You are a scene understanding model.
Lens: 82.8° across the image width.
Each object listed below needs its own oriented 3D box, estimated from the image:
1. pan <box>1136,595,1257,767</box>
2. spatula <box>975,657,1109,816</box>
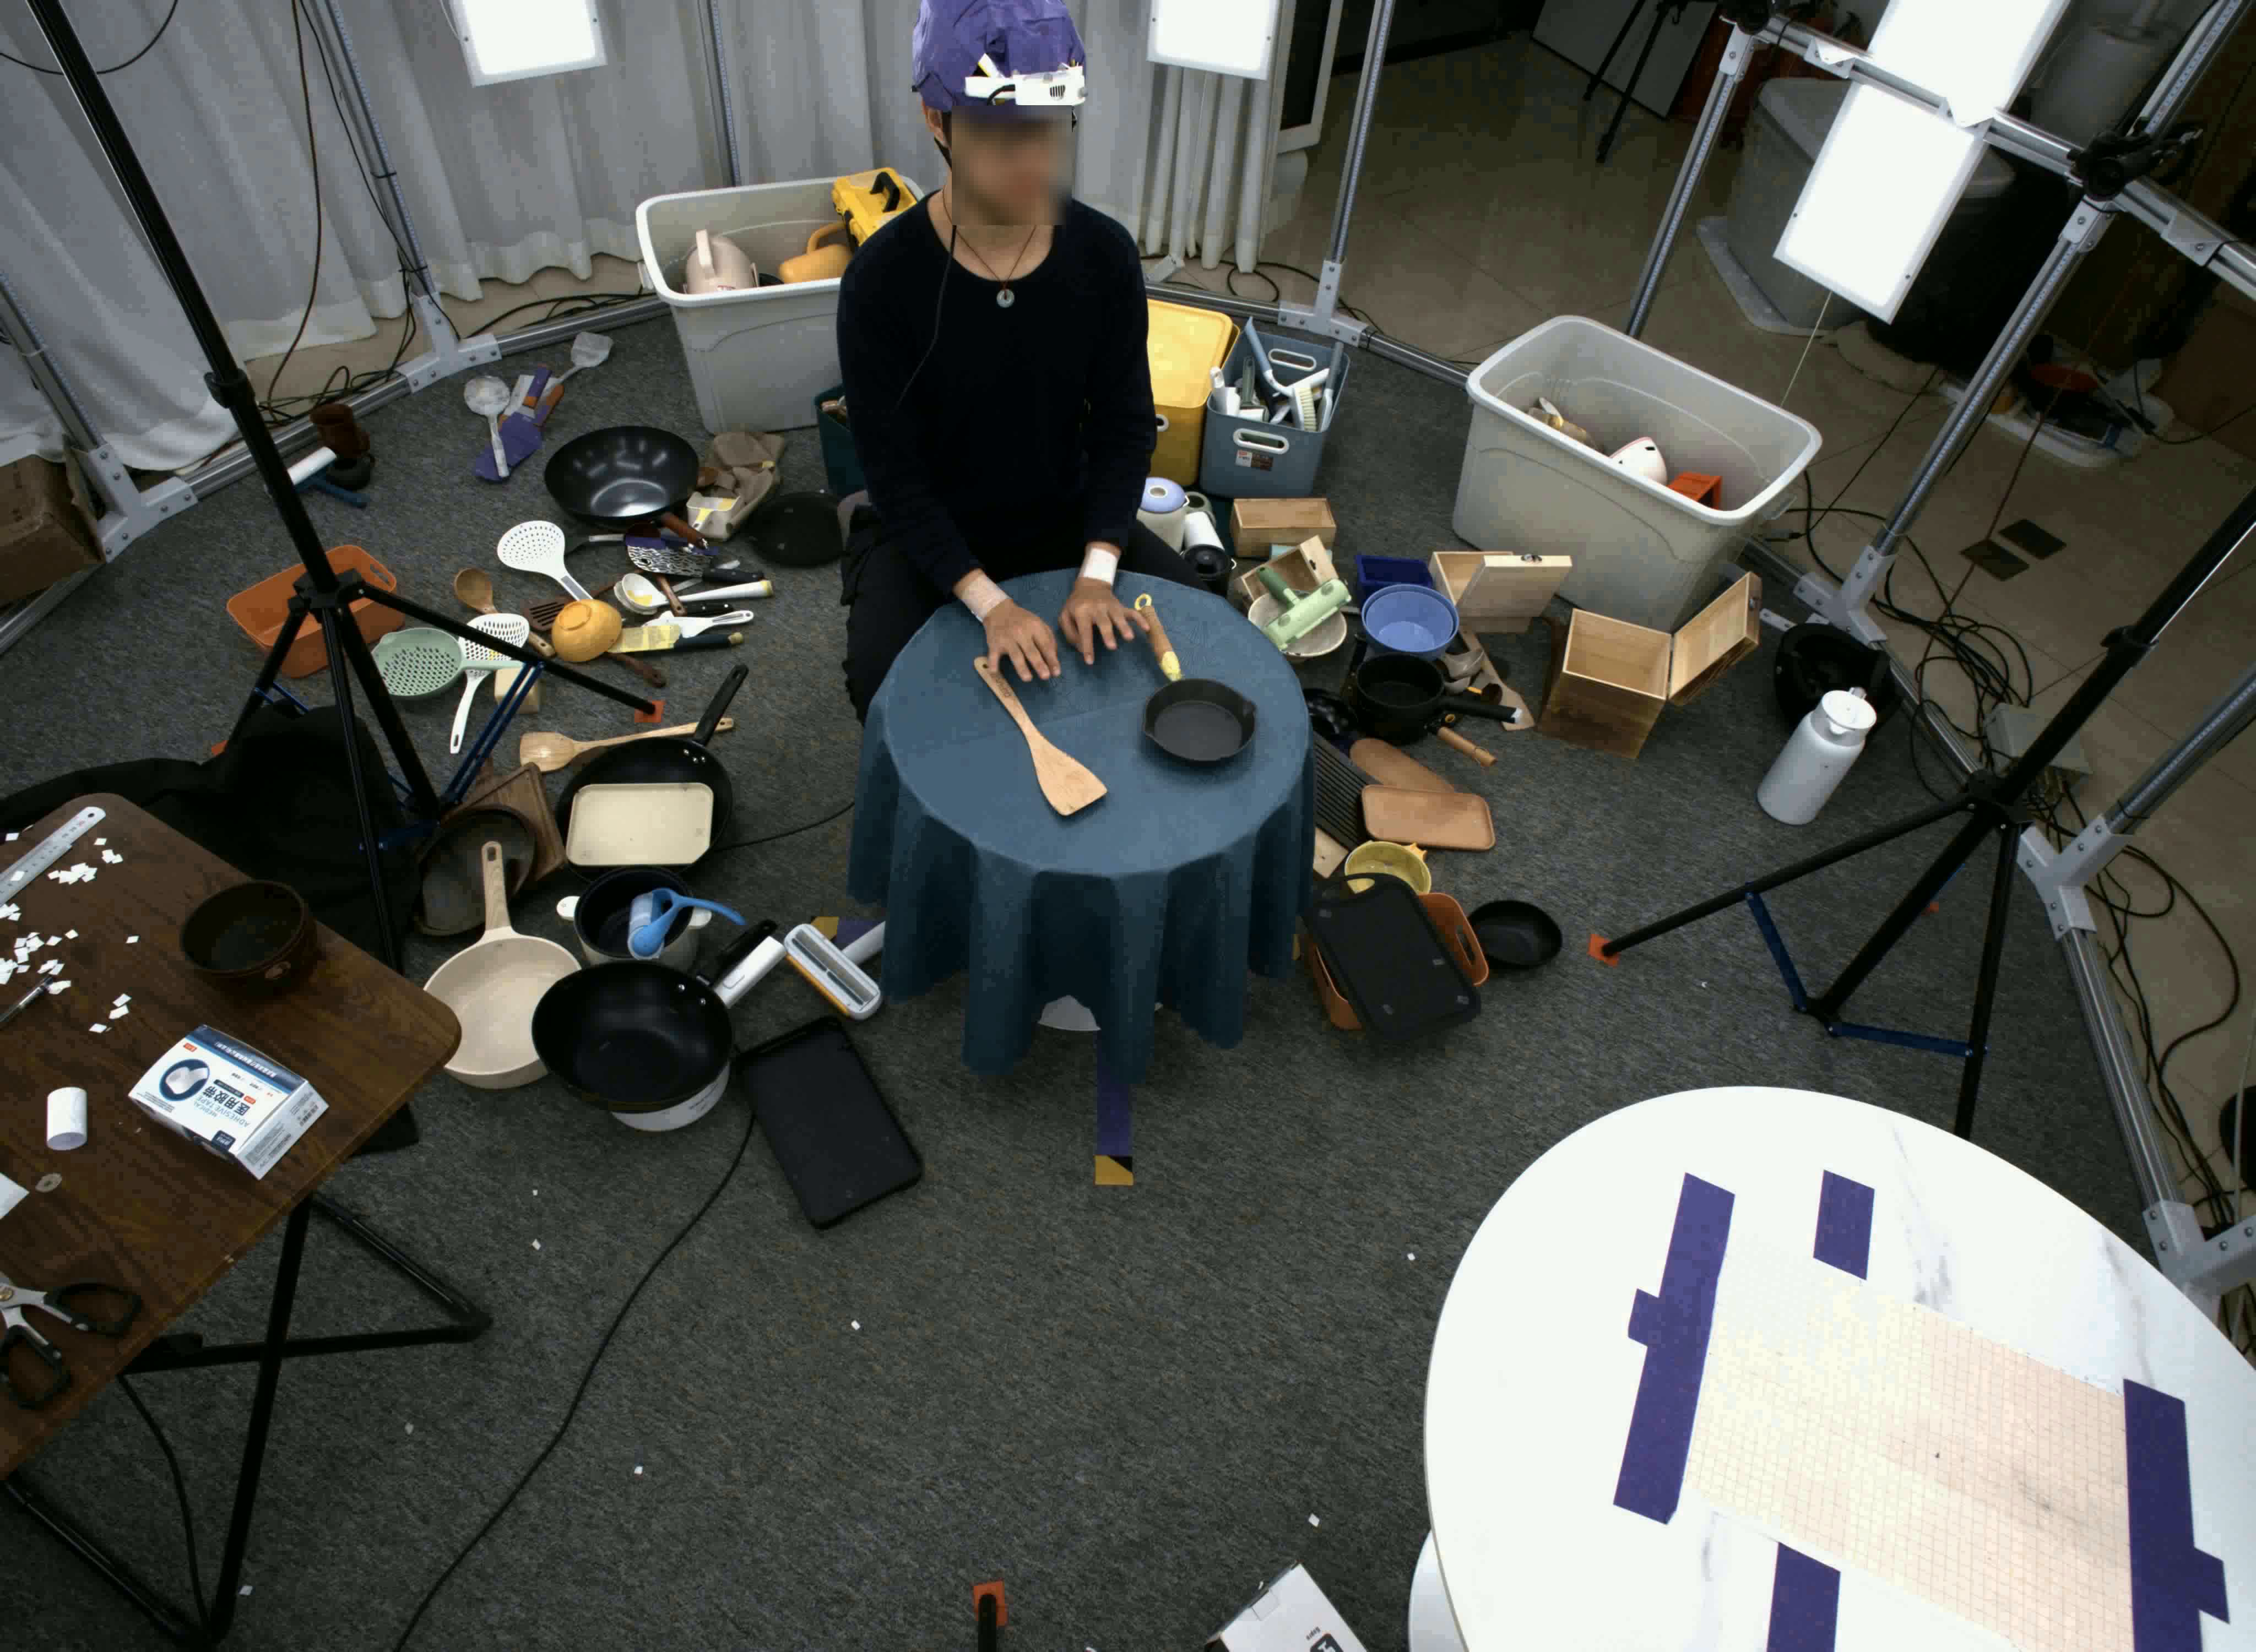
[{"bbox_3d":[0.072,-0.208,1.821,0.169,0.048,0.332,-12,52,-14],"label":"pan"},{"bbox_3d":[-0.131,-0.132,1.764,0.080,0.016,0.334,-21,54,-21],"label":"spatula"}]
